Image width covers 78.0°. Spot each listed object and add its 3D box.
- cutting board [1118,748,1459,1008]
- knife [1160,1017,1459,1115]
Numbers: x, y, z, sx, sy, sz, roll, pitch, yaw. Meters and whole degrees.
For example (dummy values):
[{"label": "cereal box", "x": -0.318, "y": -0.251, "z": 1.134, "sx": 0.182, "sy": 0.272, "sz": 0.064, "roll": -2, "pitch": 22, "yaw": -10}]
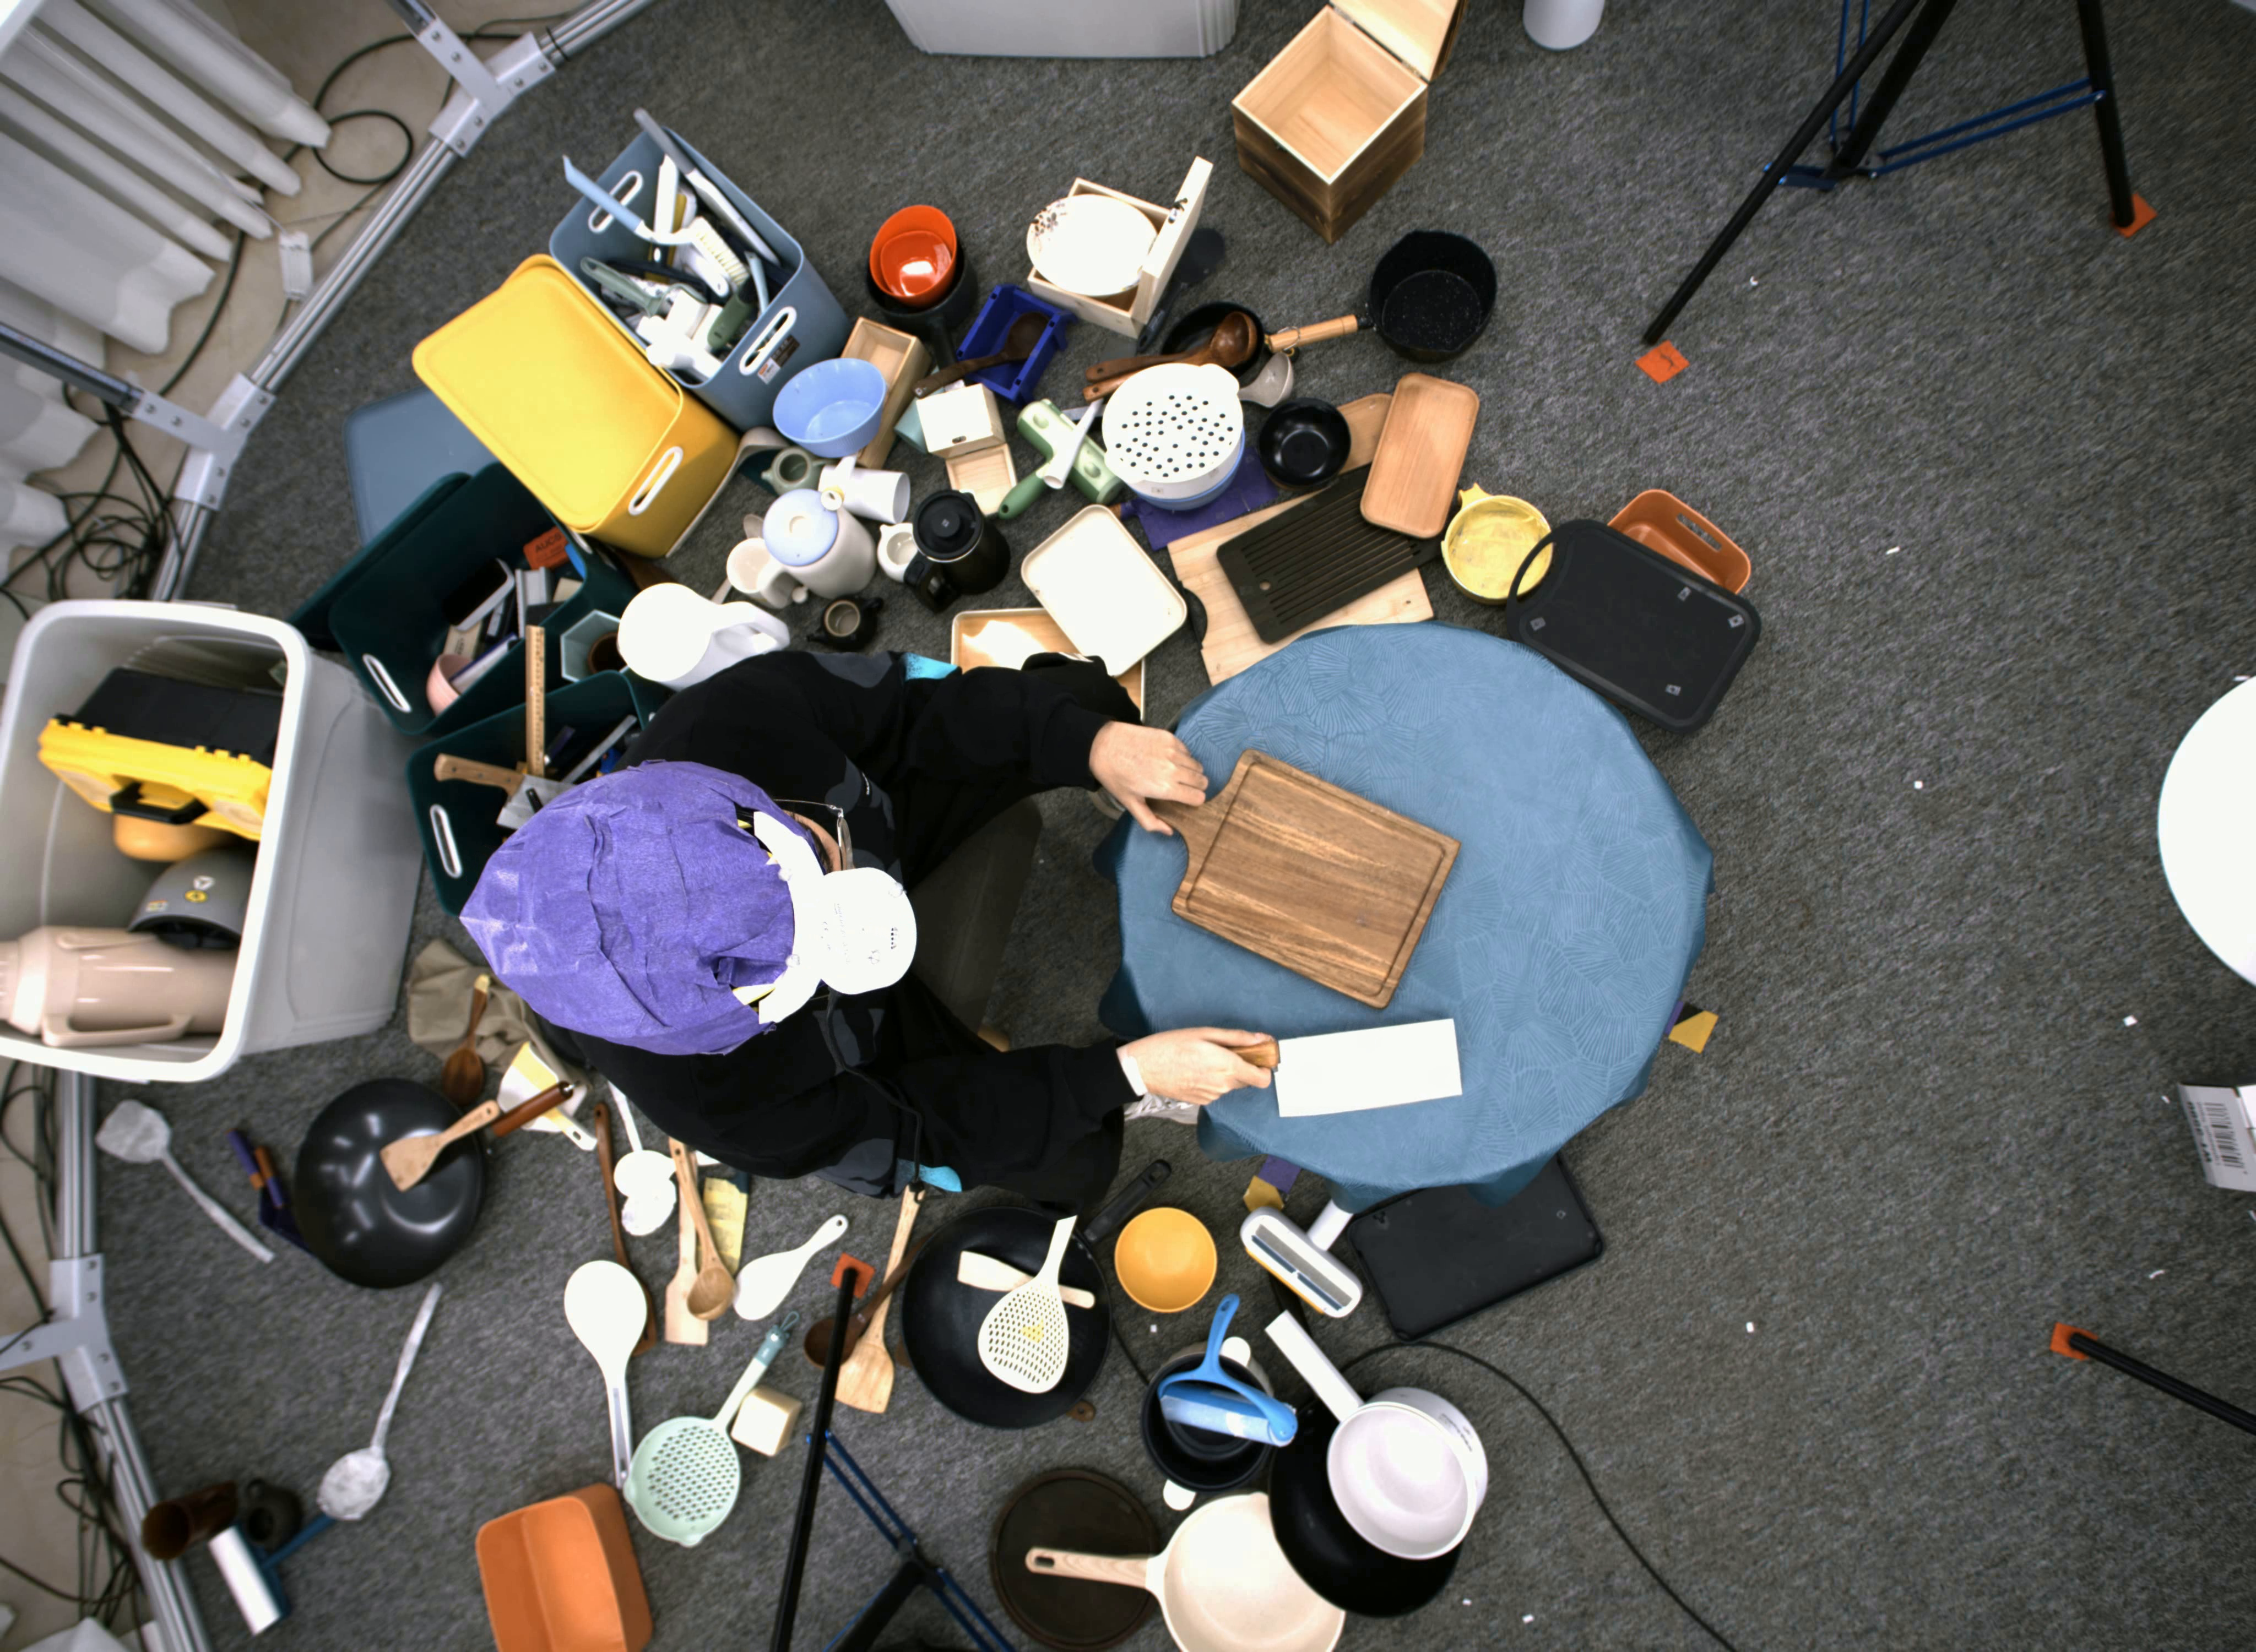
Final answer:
[{"label": "cutting board", "x": 0.152, "y": 0.033, "z": 1.464, "sx": 0.352, "sy": 0.023, "sz": 0.201, "roll": 24, "pitch": 91, "yaw": 8}, {"label": "knife", "x": 0.189, "y": 0.256, "z": 1.443, "sx": 0.307, "sy": 0.020, "sz": 0.094, "roll": -9, "pitch": 109, "yaw": 9}]
